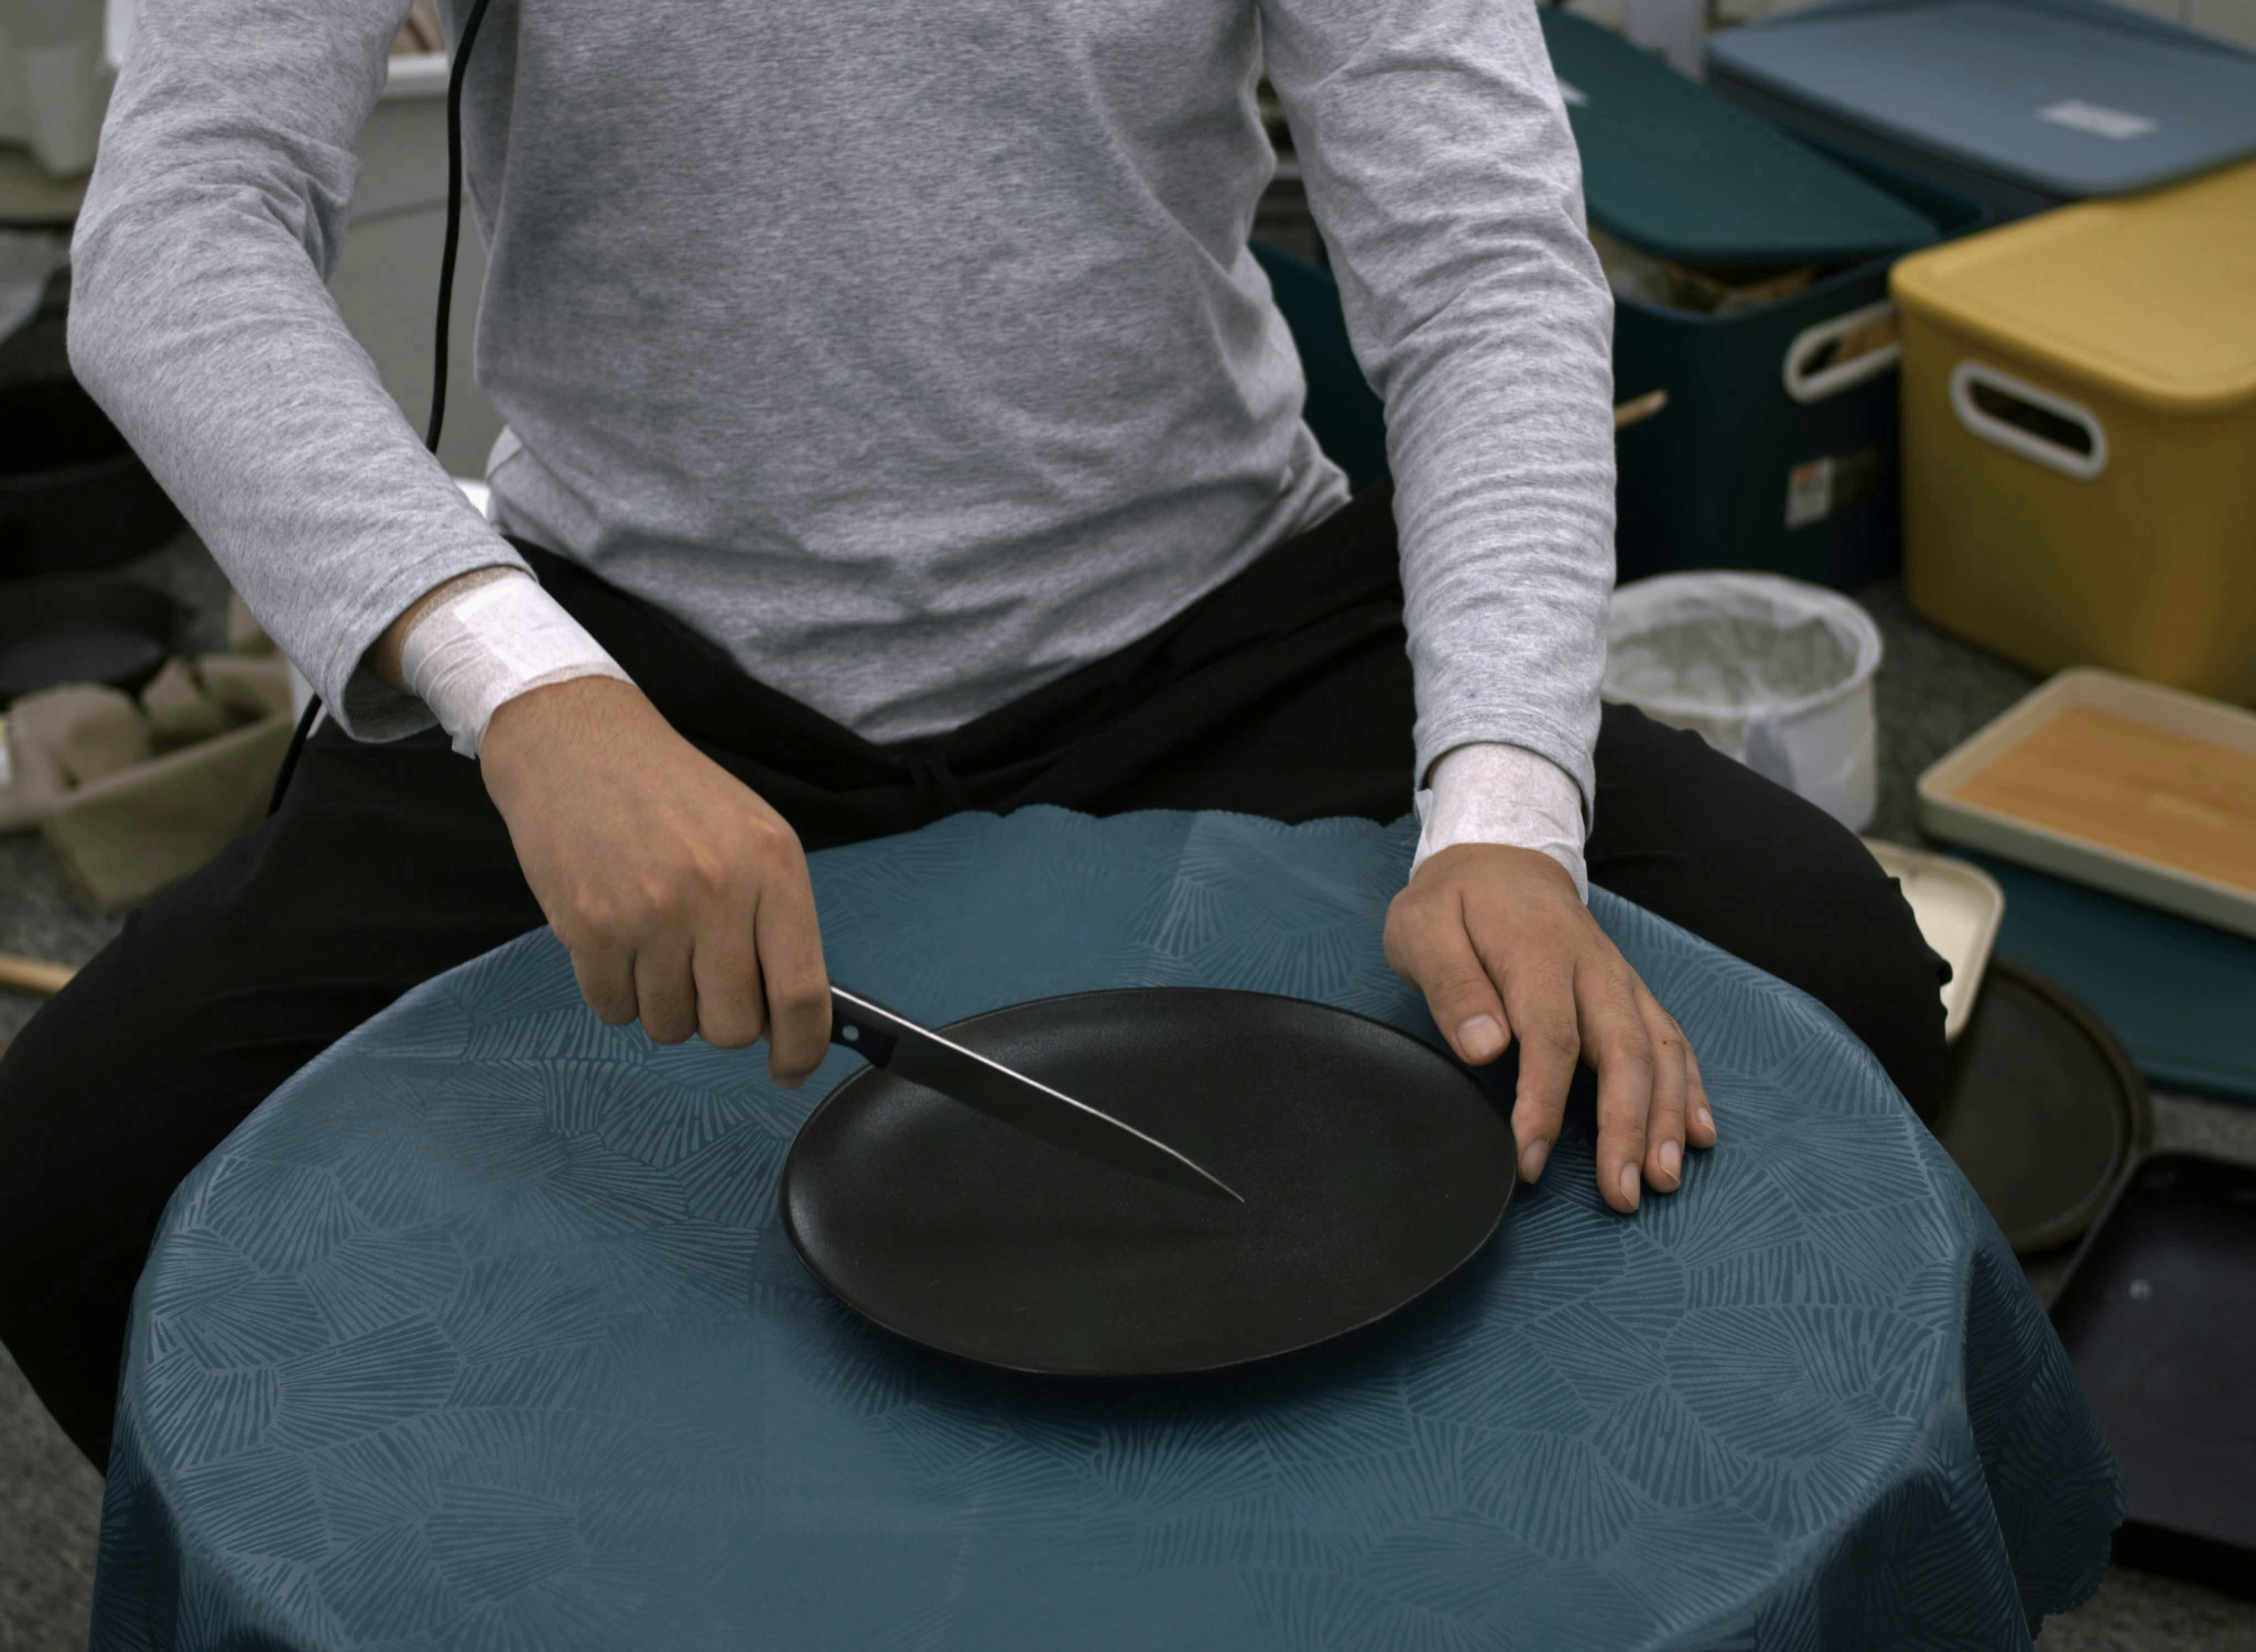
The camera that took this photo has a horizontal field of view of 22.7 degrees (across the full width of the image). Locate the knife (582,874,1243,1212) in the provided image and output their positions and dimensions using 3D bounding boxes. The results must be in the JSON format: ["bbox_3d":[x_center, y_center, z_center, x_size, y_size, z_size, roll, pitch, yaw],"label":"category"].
[{"bbox_3d":[-0.069,0.071,1.828,0.237,0.024,0.016,26,33,4],"label":"knife"}]

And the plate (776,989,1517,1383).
[{"bbox_3d":[0.006,0.121,1.838,0.243,0.023,0.248,-2,27,1],"label":"plate"}]
